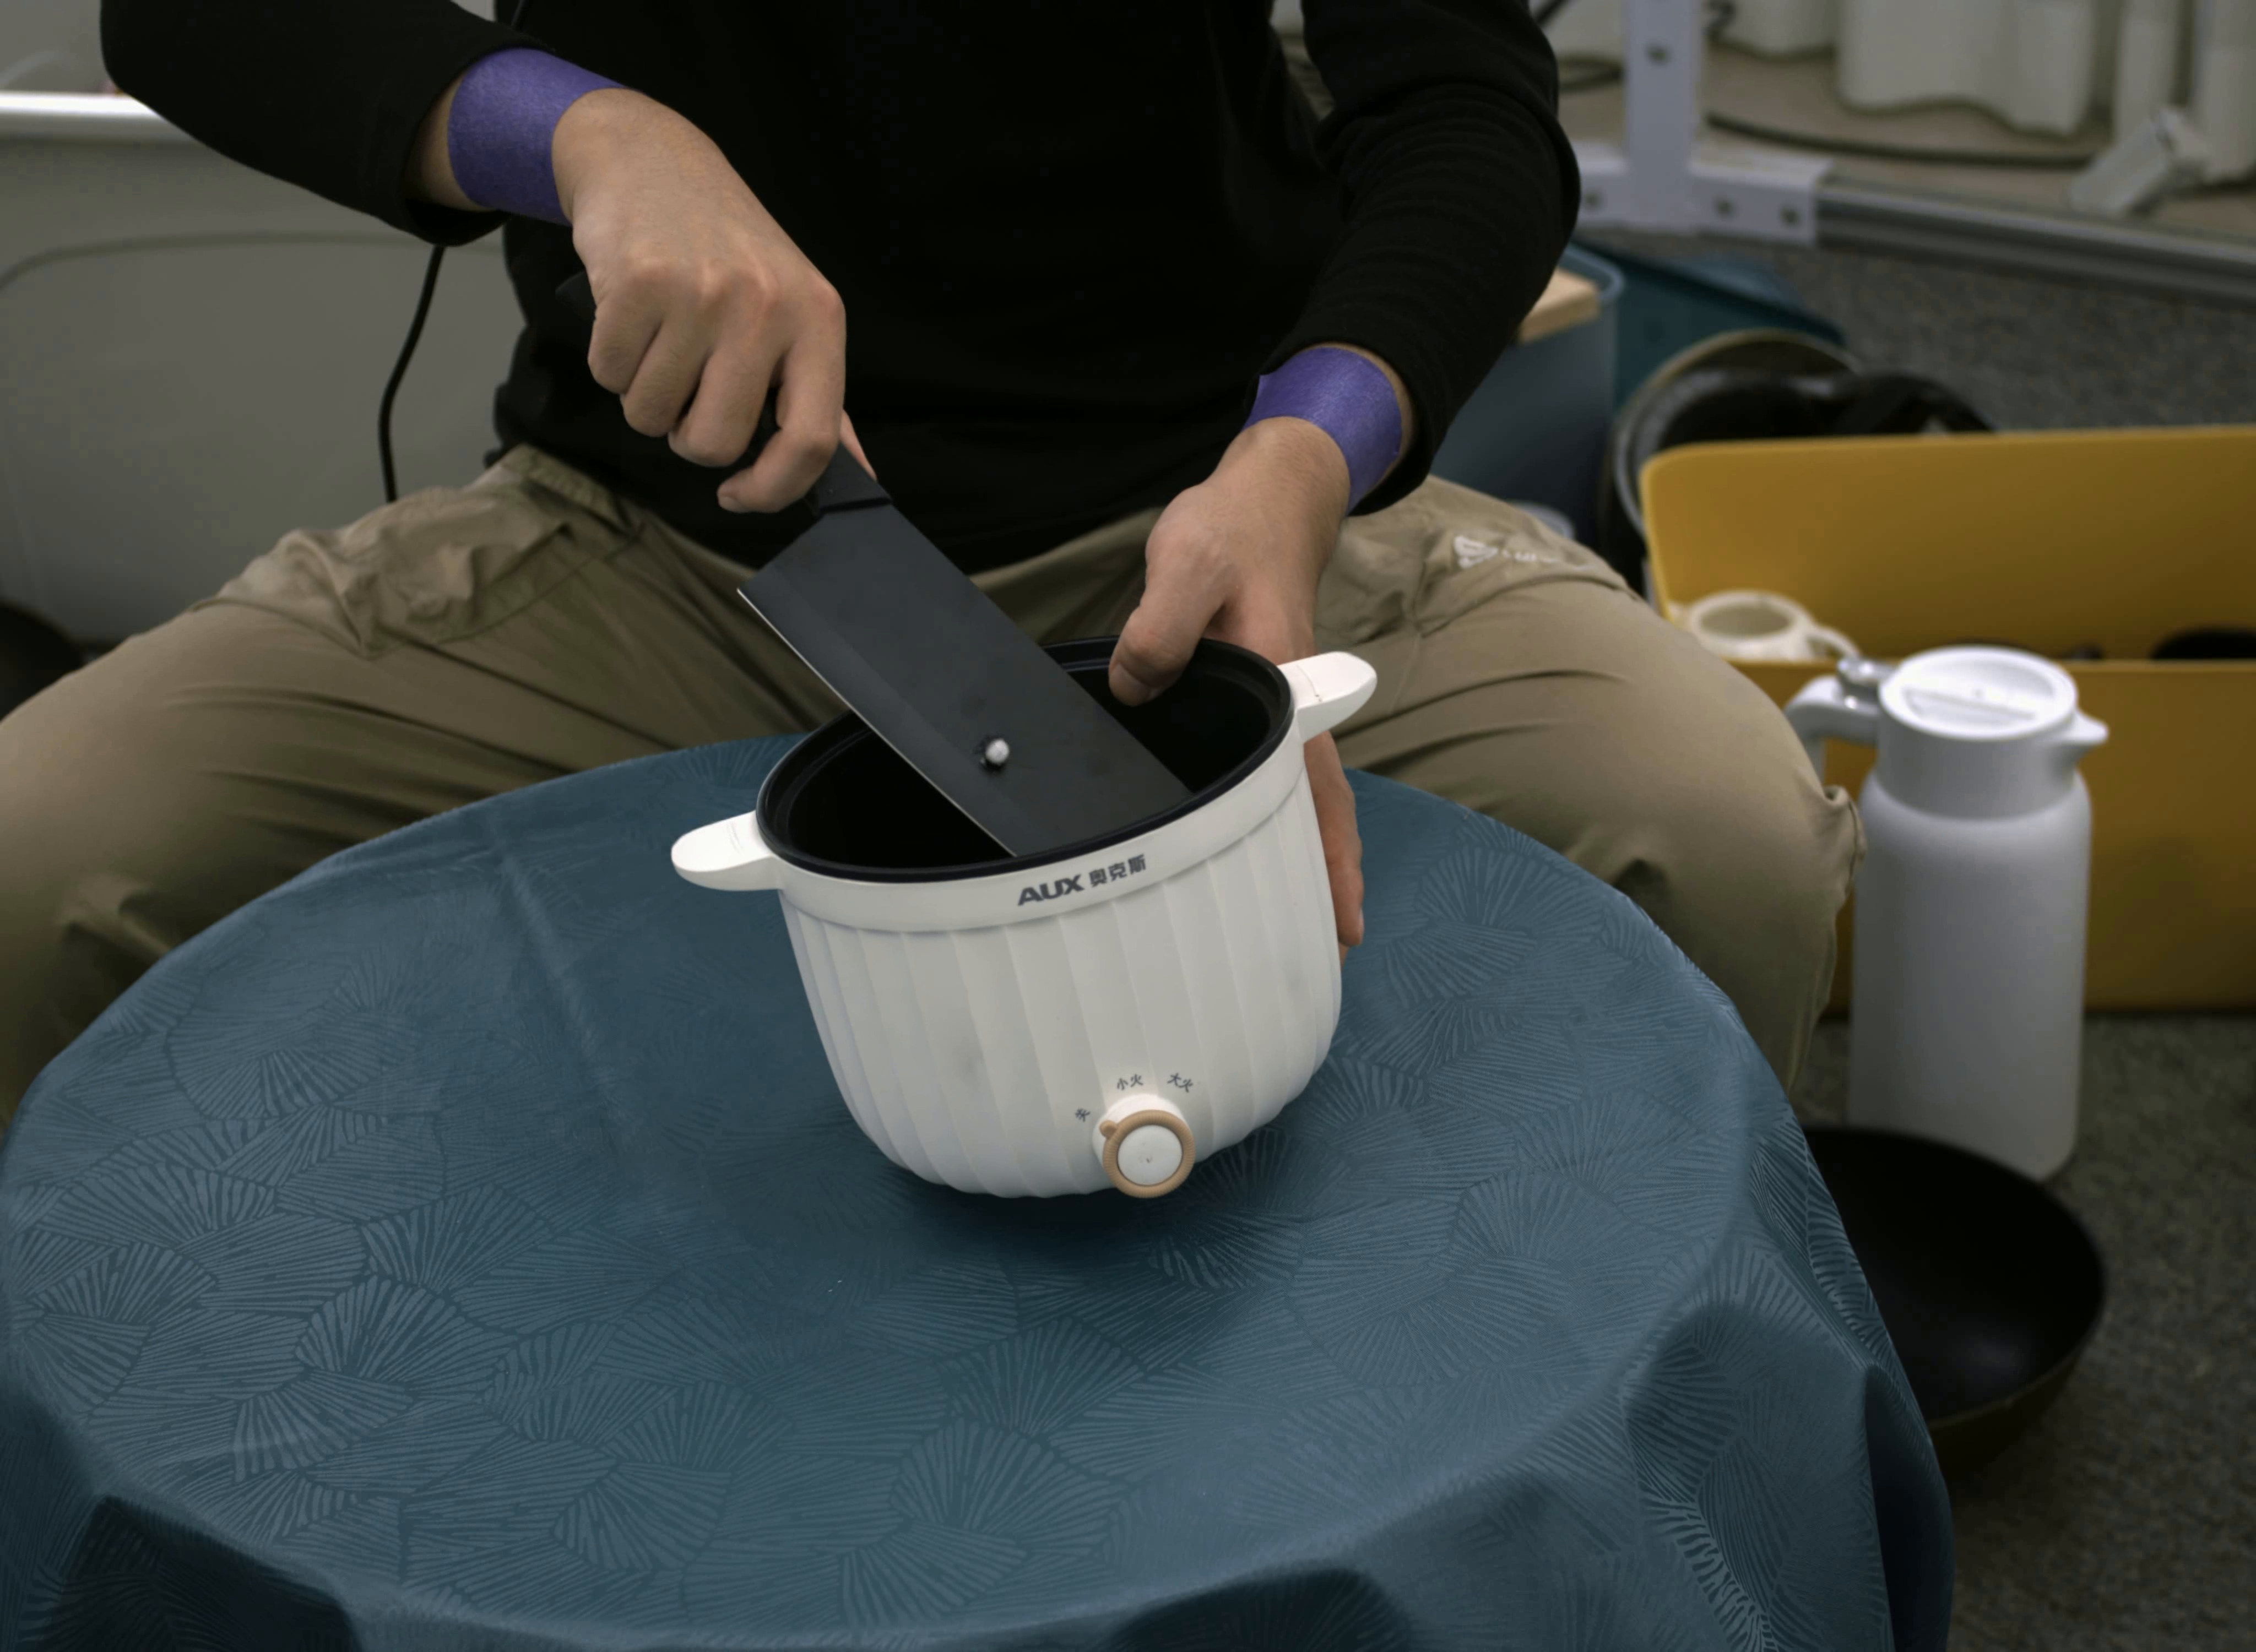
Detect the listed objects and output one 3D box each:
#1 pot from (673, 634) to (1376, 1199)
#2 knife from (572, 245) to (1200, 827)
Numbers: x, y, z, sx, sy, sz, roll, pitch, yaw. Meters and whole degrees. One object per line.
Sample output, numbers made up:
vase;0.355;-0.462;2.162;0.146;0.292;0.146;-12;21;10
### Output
pot;-0.018;0.035;1.857;0.240;0.142;0.192;-17;19;-7
knife;-0.080;-0.086;1.898;0.082;0.020;0.303;-36;77;-30
